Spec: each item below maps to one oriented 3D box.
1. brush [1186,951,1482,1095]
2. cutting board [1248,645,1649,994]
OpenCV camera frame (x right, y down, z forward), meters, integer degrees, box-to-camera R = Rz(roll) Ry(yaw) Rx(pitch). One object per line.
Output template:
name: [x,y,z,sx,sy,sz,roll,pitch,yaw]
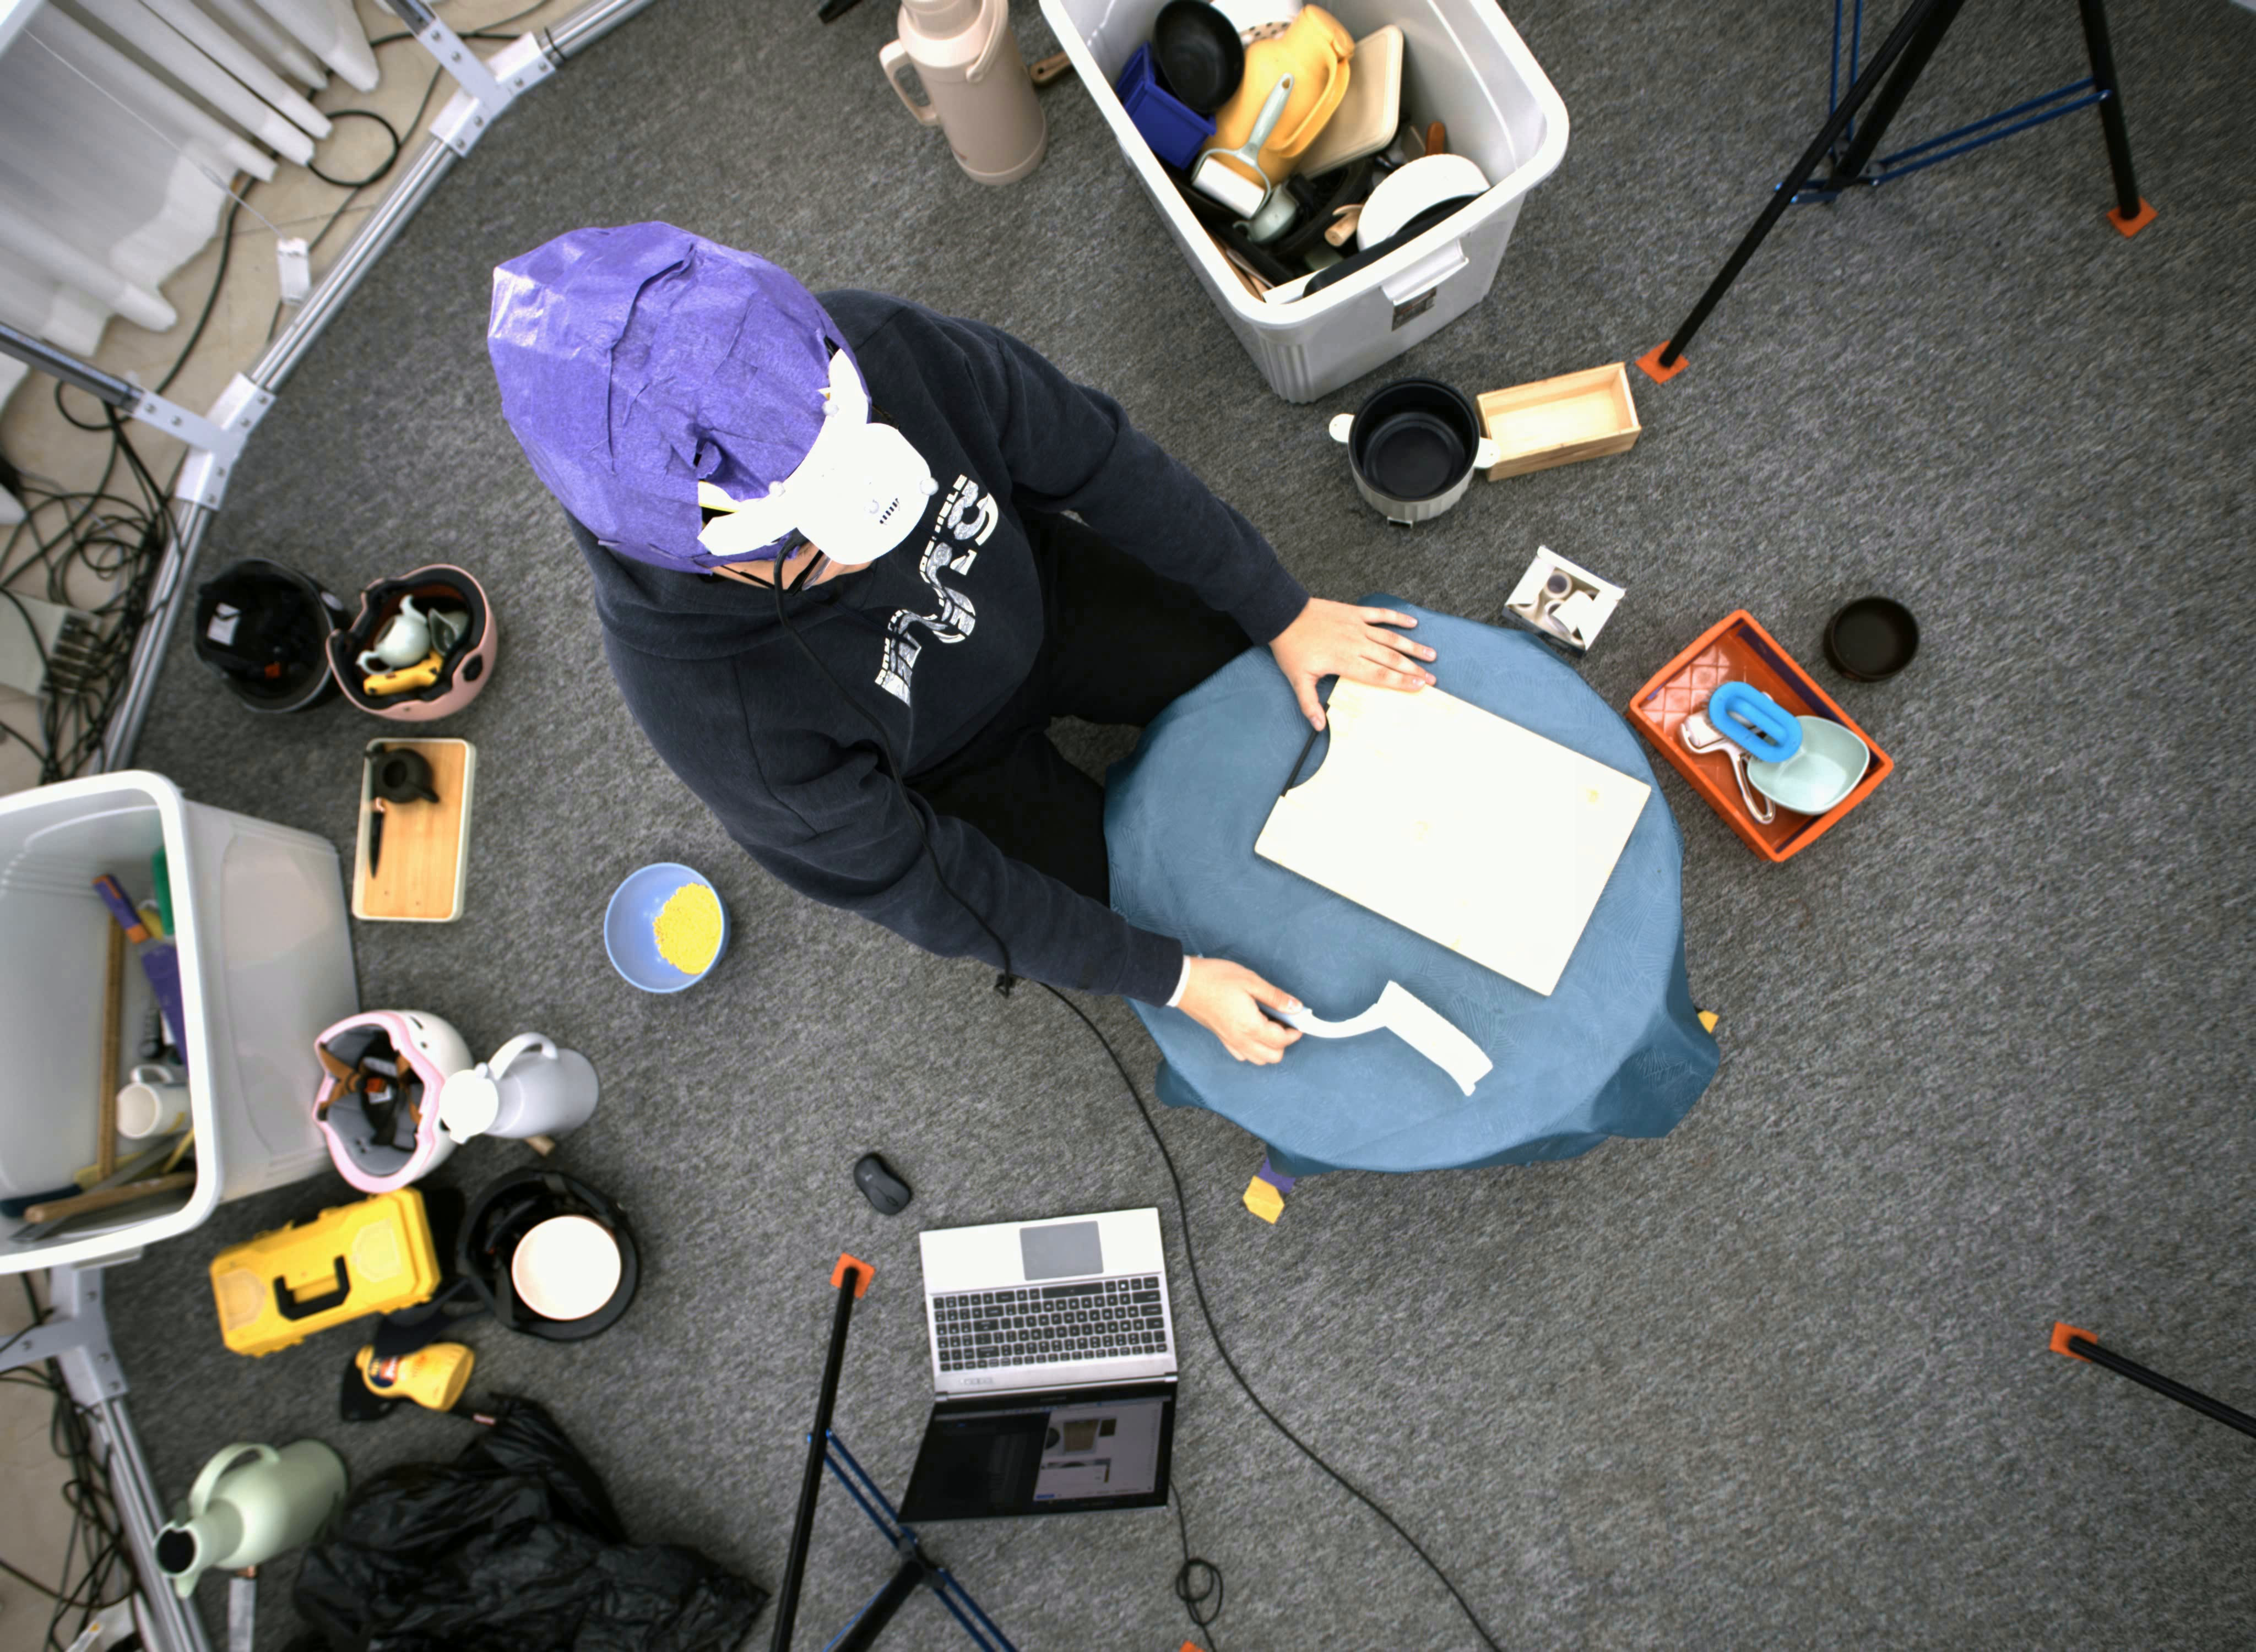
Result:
brush: [0.214,0.172,1.424,0.325,0.085,0.082,24,54,17]
cutting board: [0.332,-0.011,1.446,0.348,0.023,0.251,26,91,11]
